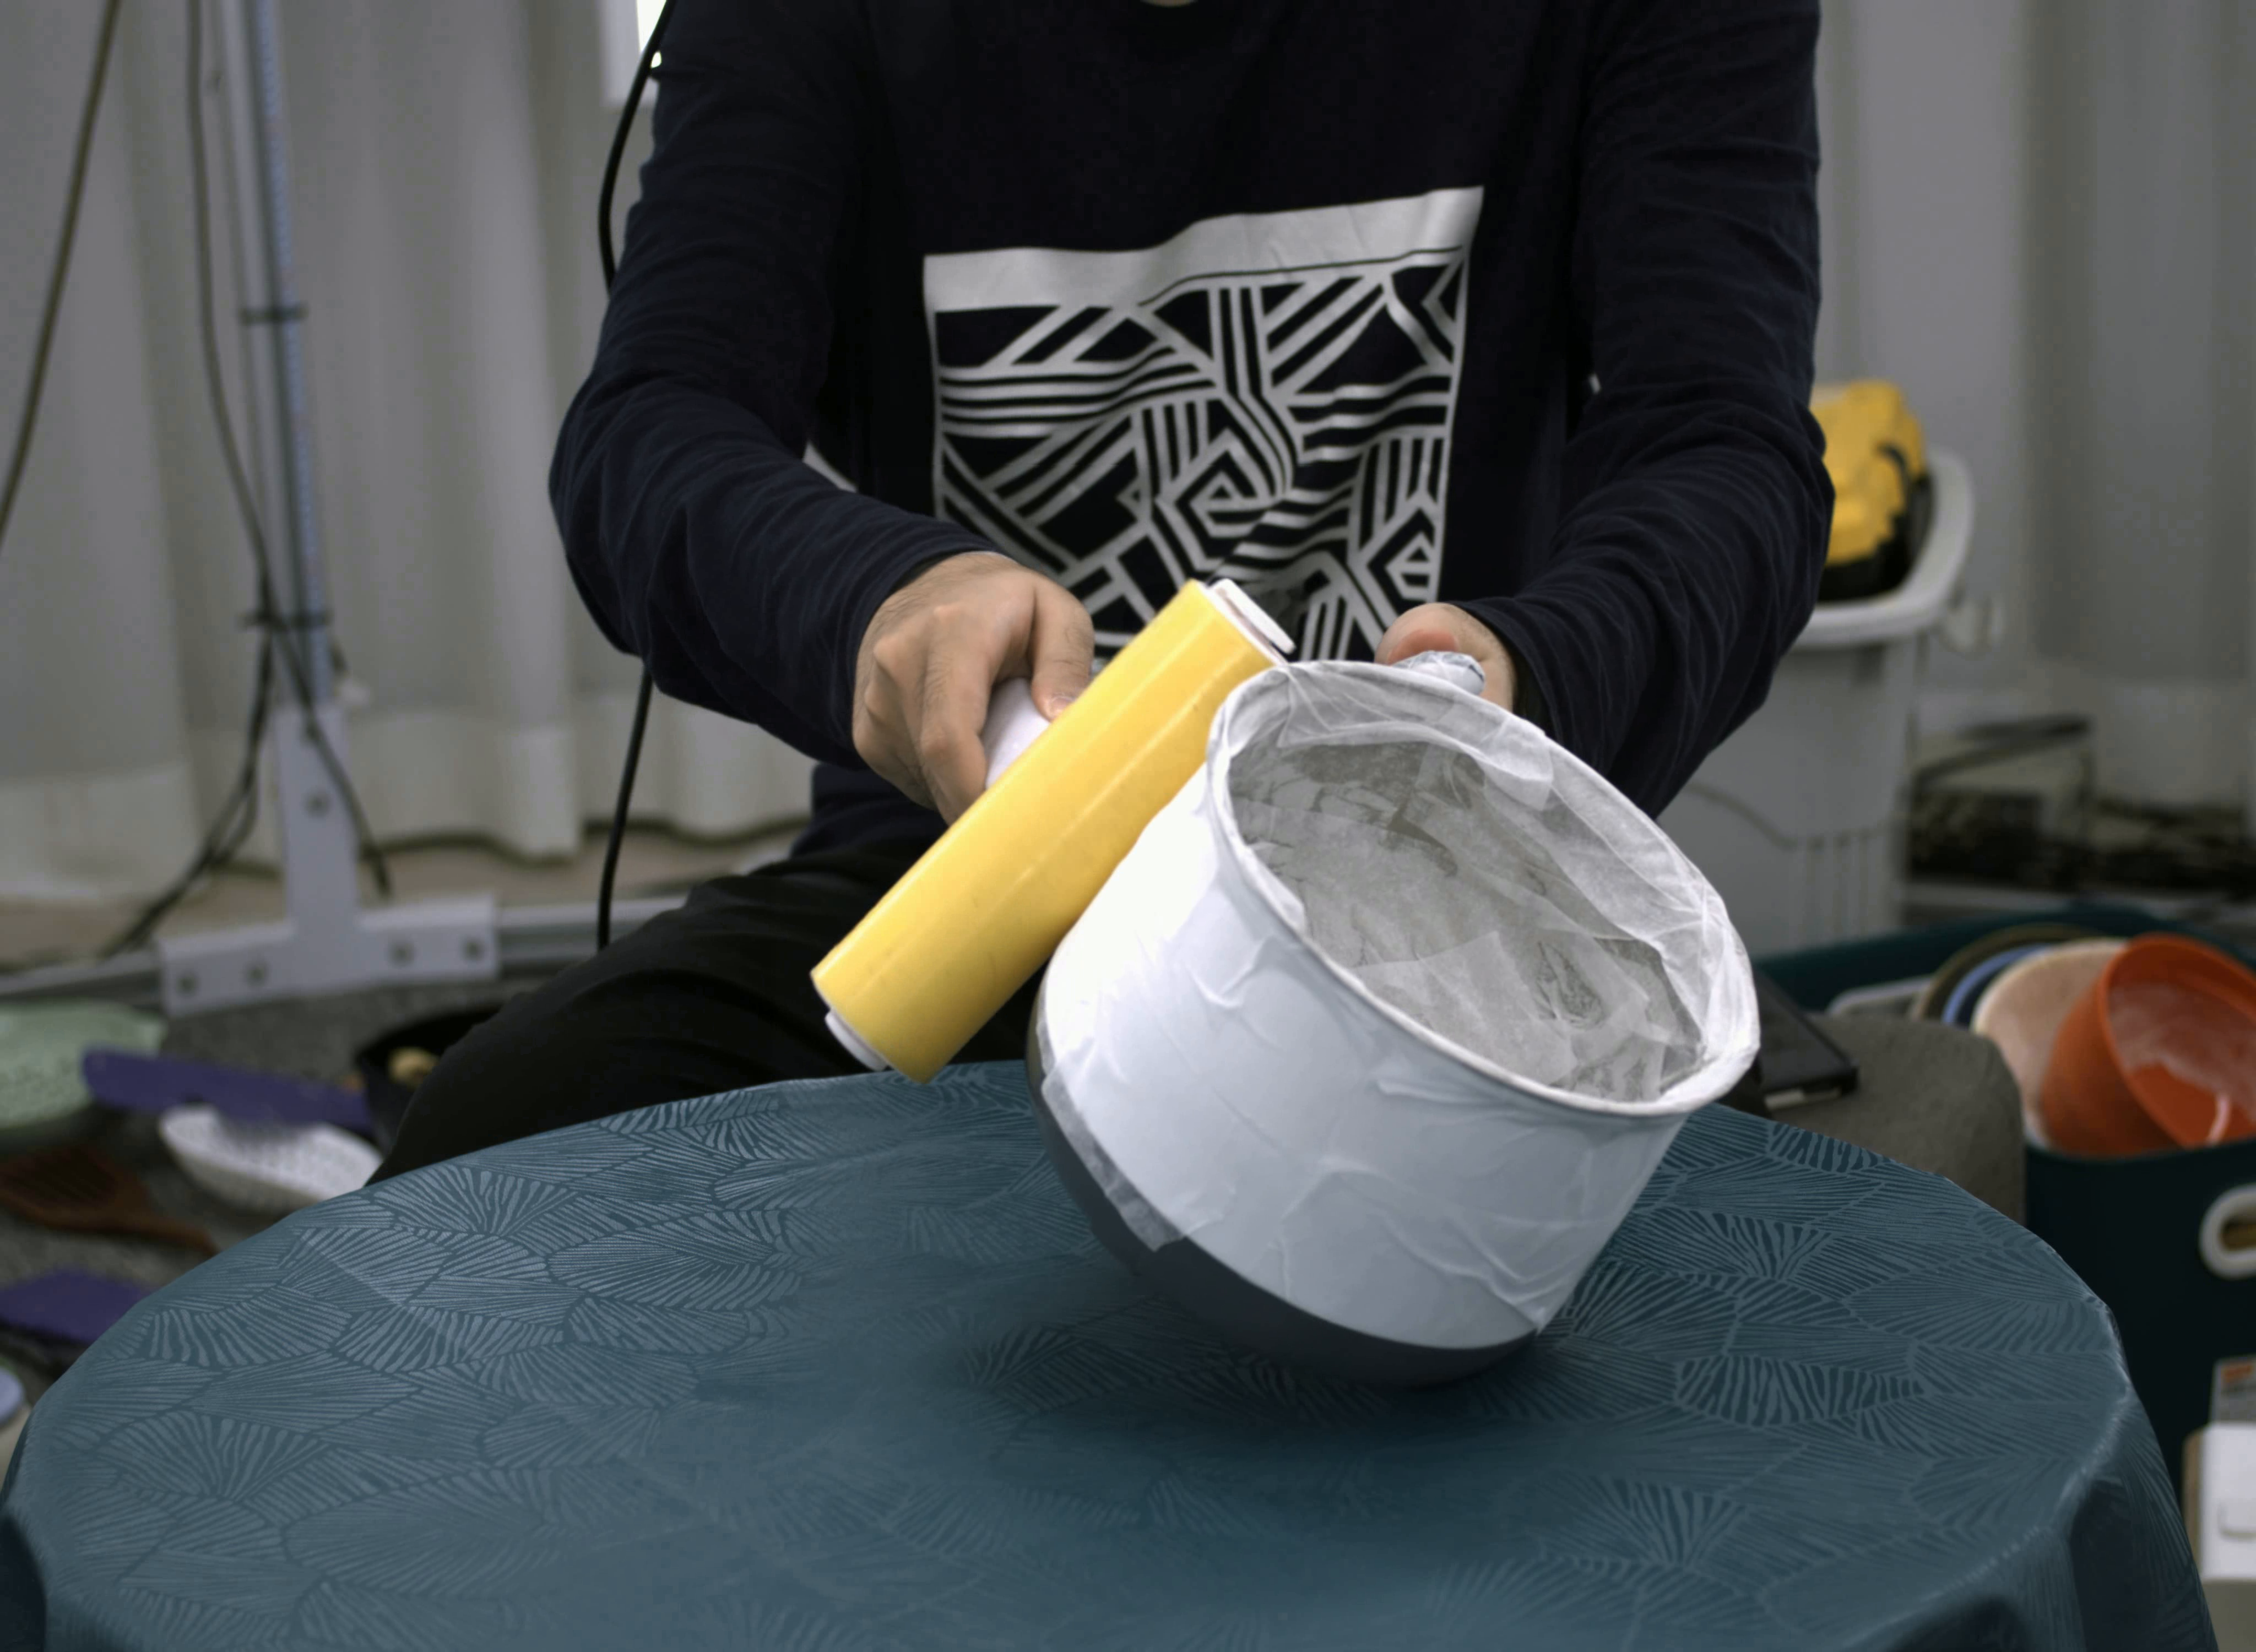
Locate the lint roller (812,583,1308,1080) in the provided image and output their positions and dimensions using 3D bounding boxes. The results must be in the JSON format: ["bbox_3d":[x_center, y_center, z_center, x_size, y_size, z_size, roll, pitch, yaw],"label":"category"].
[{"bbox_3d":[-0.037,-0.021,1.648,0.174,0.051,0.194,-44,26,2],"label":"lint roller"}]

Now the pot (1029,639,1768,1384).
[{"bbox_3d":[0.070,0.039,1.560,0.177,0.135,0.237,23,34,-19],"label":"pot"}]
